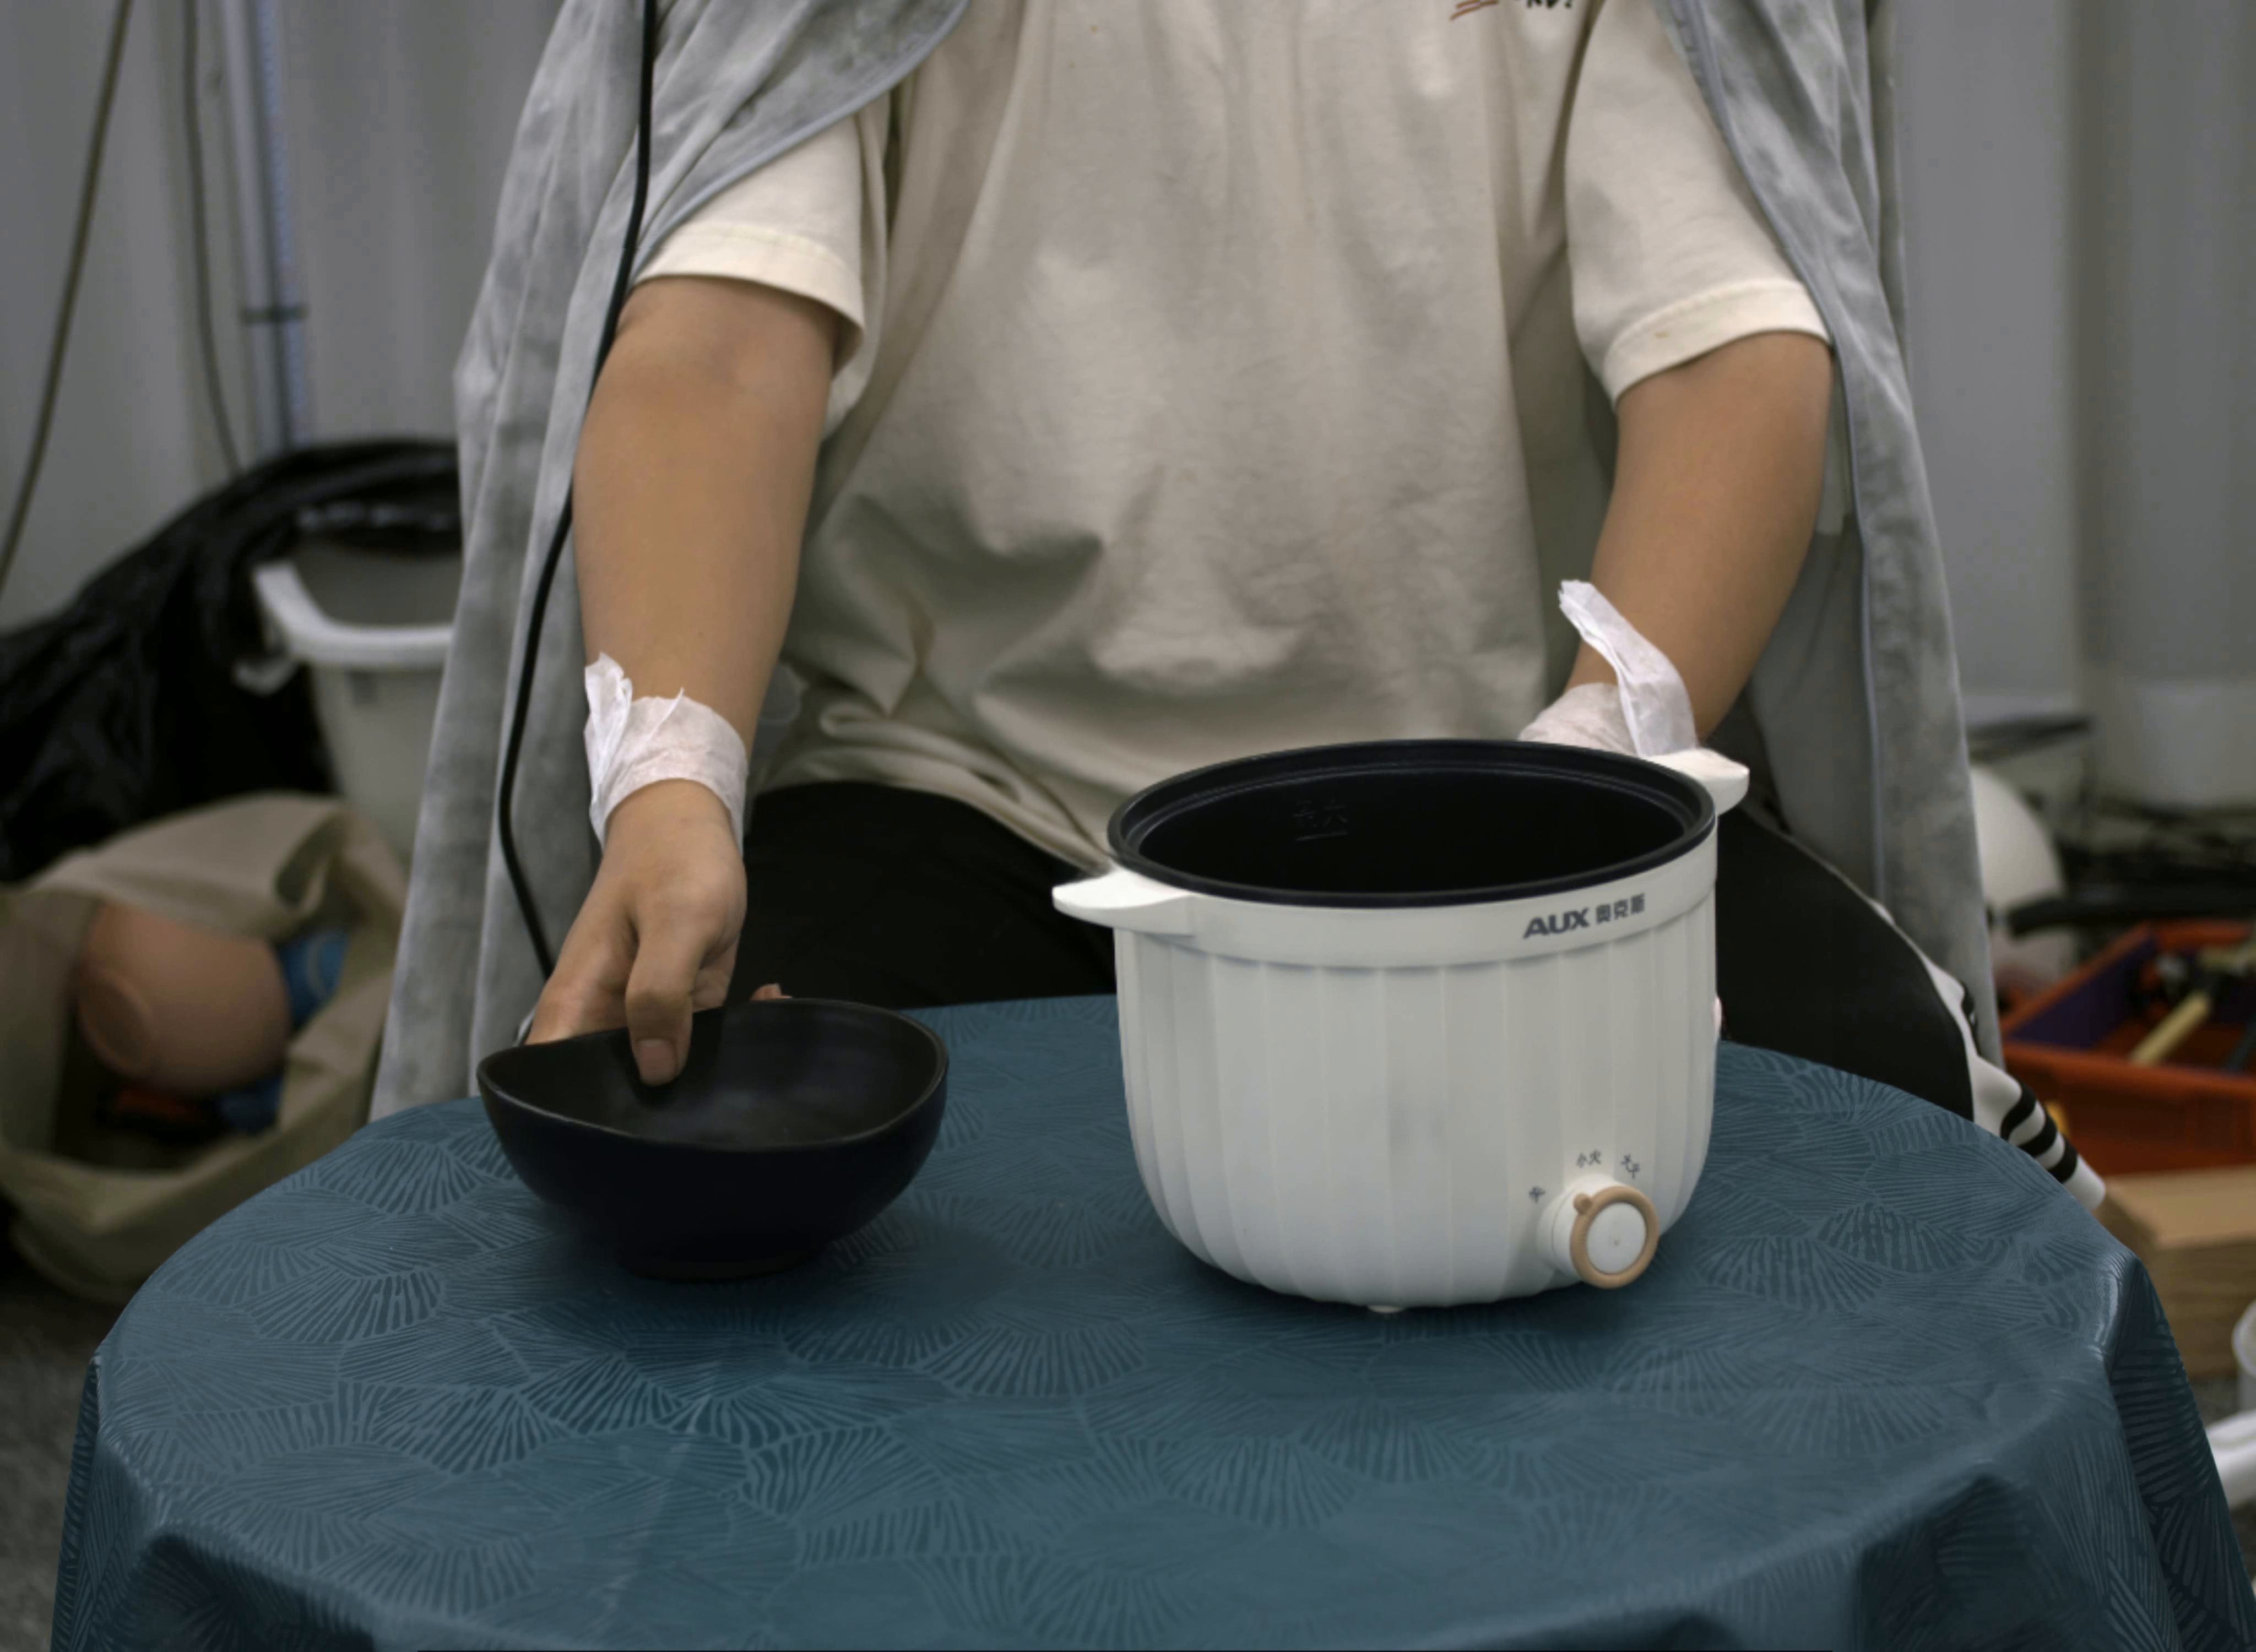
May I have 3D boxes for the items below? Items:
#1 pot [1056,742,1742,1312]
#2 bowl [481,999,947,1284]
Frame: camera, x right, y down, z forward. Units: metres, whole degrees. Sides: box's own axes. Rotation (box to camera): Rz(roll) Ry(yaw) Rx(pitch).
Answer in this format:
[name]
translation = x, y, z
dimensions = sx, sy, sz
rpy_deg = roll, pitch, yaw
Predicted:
[pot]
translation = 0.091, 0.061, 1.636
dimensions = 0.239, 0.142, 0.191
rpy_deg = -12, 14, -30
[bowl]
translation = -0.127, 0.100, 1.674
dimensions = 0.137, 0.066, 0.171
rpy_deg = -11, 15, -30
